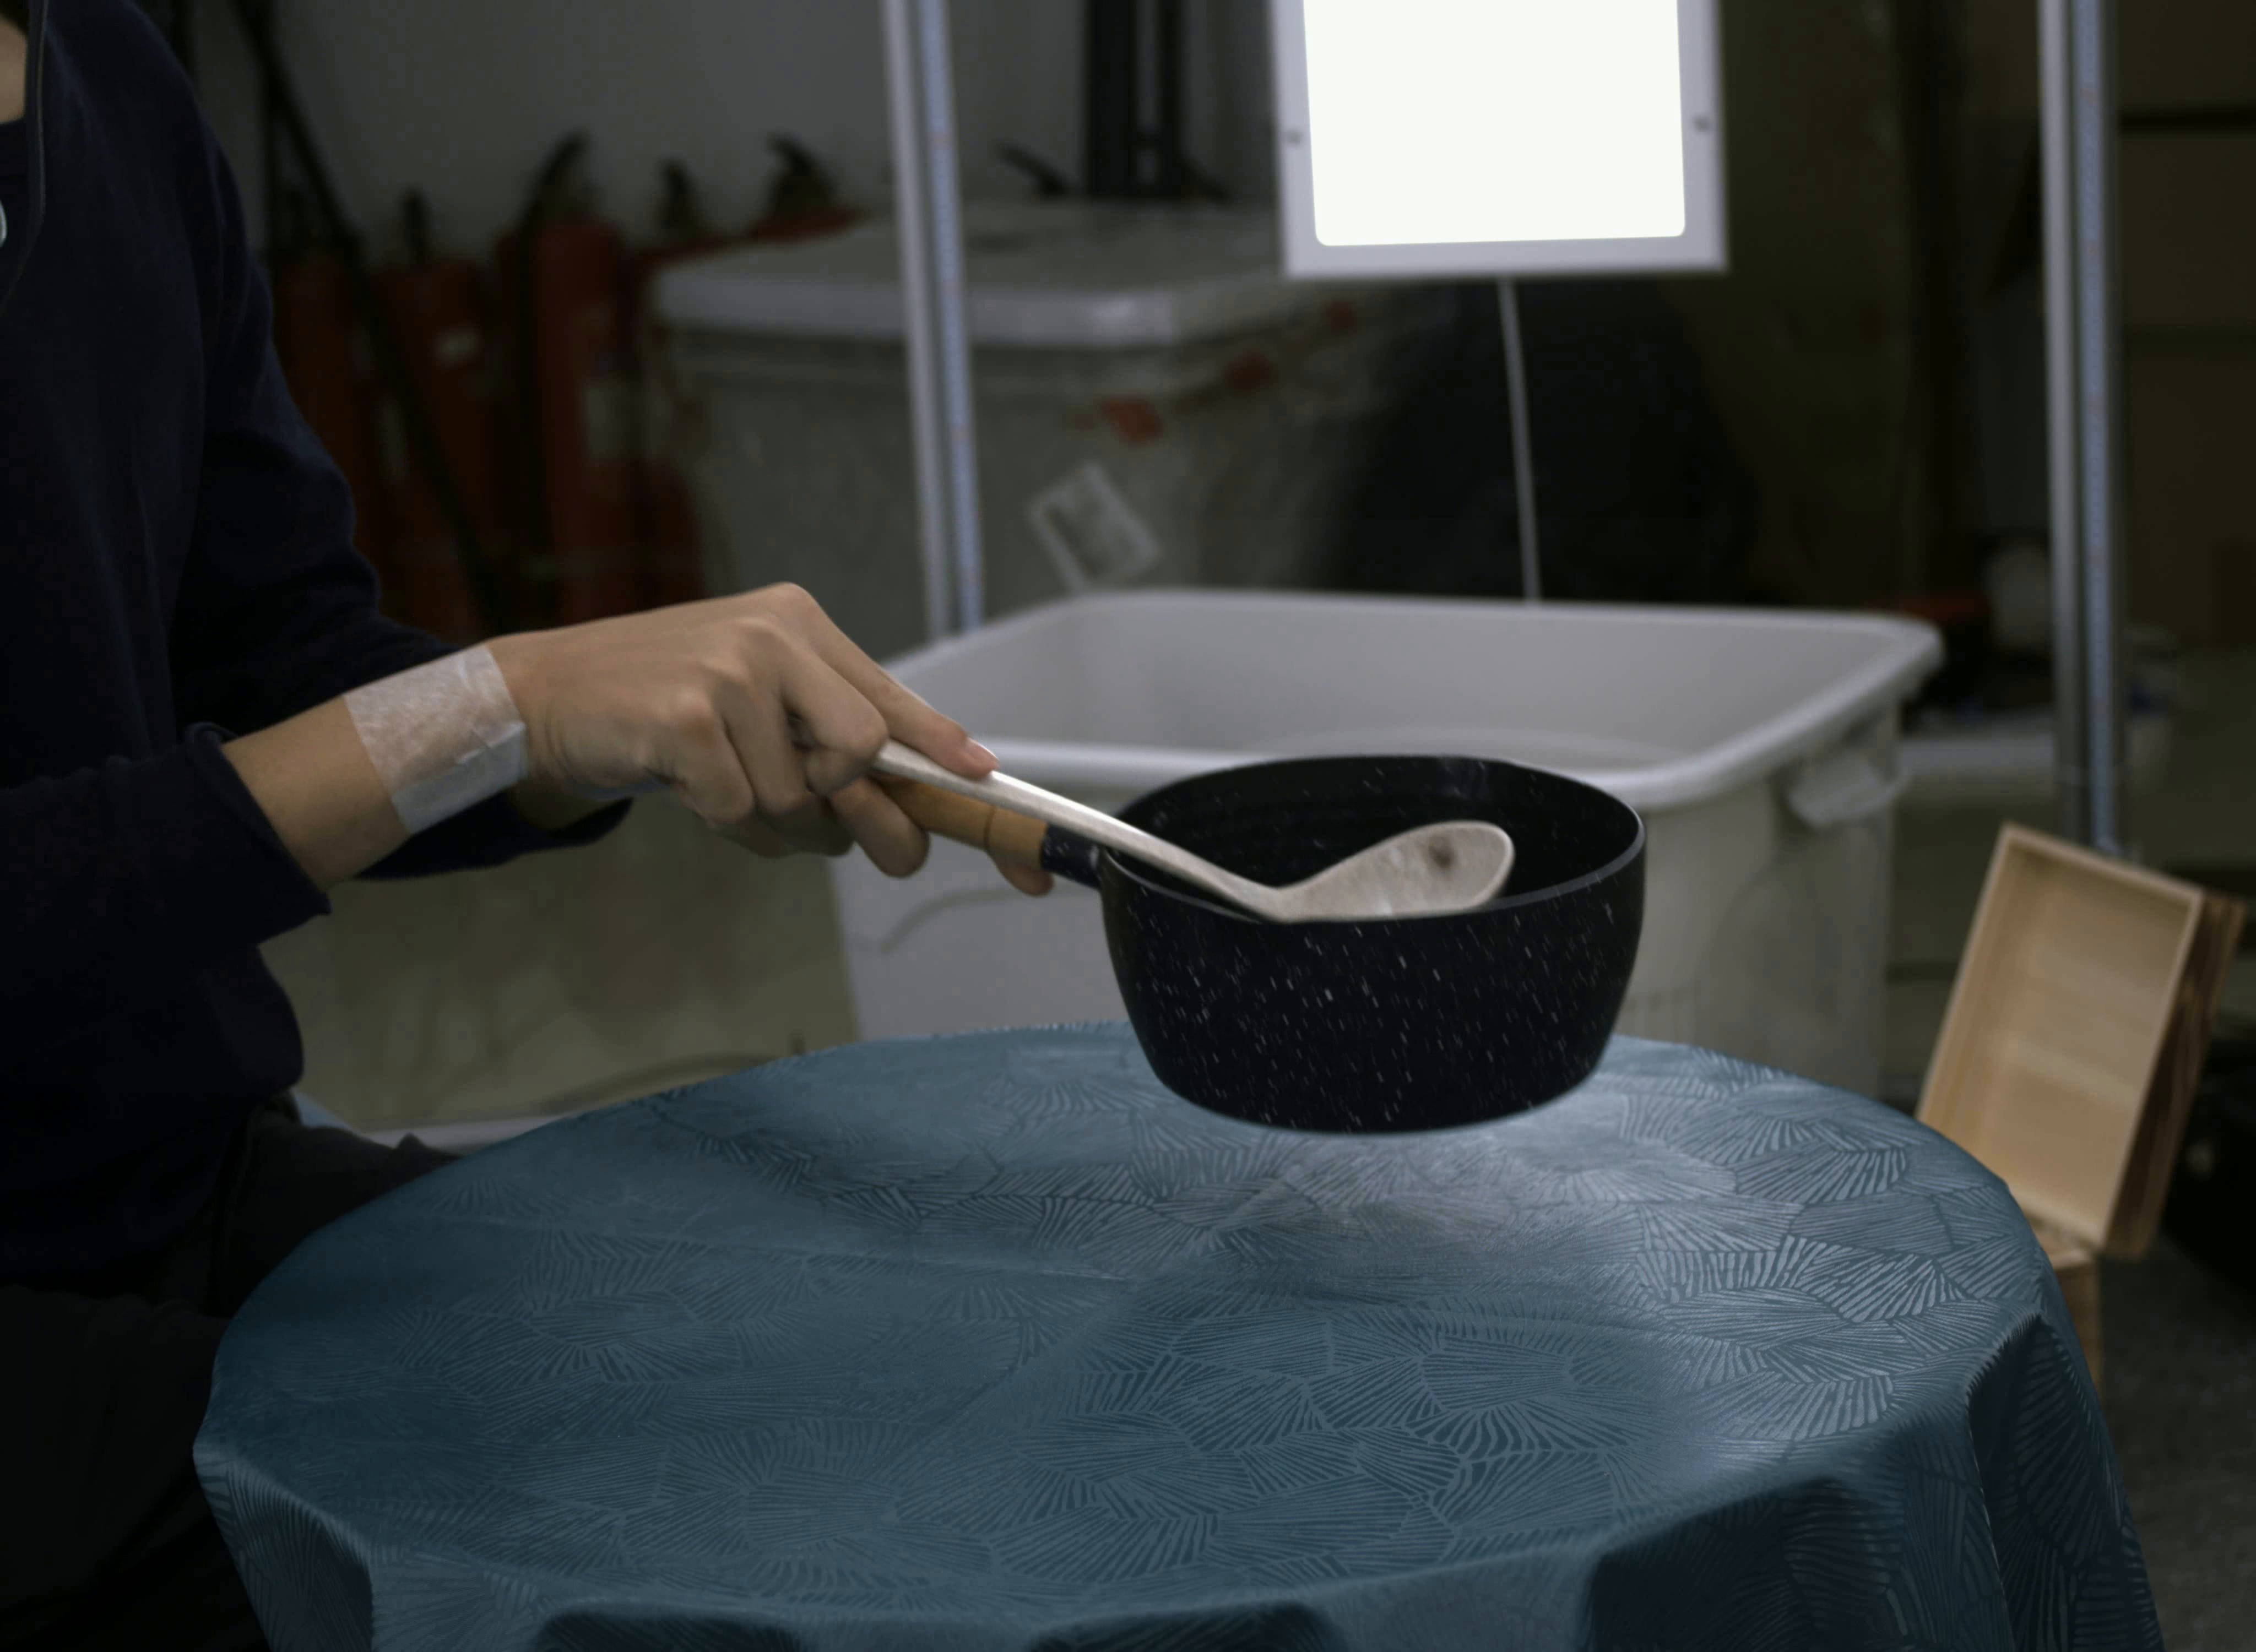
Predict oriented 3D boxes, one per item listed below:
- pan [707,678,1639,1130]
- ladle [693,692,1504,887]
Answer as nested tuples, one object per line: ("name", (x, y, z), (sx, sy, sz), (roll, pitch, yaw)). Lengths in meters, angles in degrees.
("pan", (0.008, 0.019, 1.882), (0.348, 0.109, 0.203), (6, 20, 25))
("ladle", (-0.007, -0.018, 1.836), (0.272, 0.070, 0.089), (22, 21, -13))
